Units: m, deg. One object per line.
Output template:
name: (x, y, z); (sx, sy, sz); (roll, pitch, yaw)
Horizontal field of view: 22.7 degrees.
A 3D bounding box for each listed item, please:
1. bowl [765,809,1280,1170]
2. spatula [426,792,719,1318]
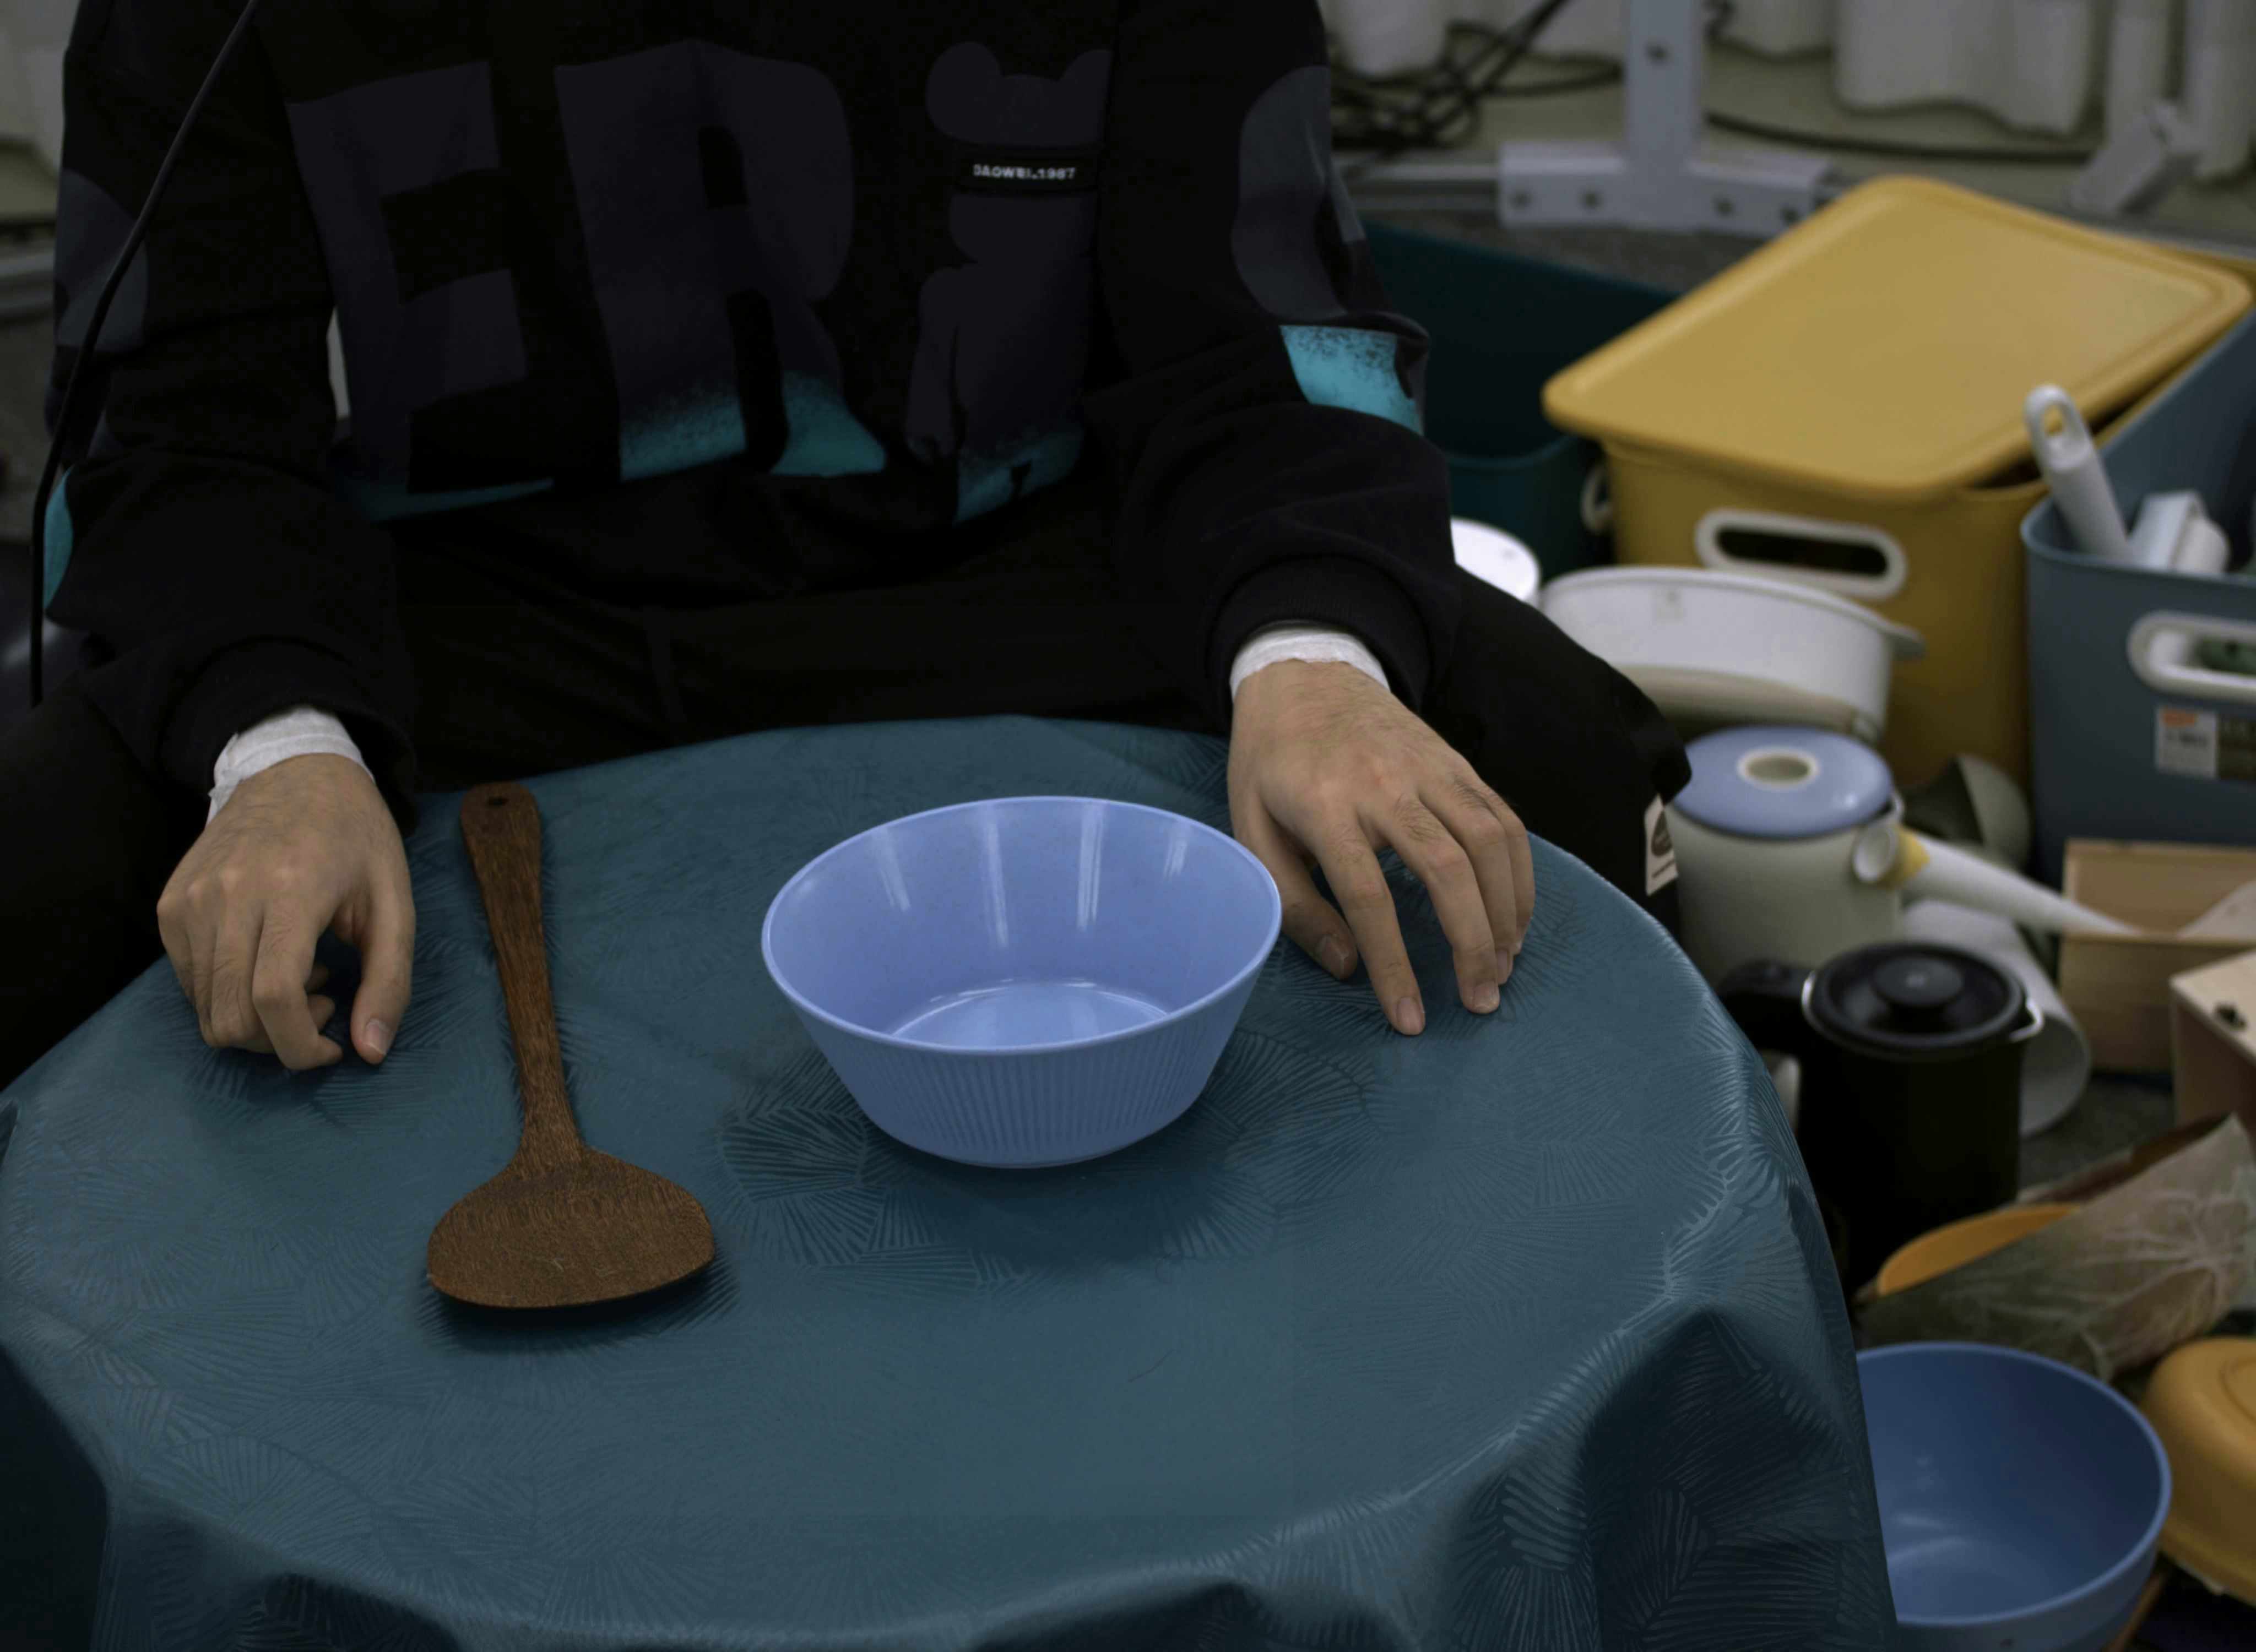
bowl: (-0.034, 0.061, 1.907); (0.175, 0.069, 0.178); (-2, 26, 1)
spatula: (-0.208, 0.072, 1.965); (0.096, 0.015, 0.390); (-6, 27, -8)
